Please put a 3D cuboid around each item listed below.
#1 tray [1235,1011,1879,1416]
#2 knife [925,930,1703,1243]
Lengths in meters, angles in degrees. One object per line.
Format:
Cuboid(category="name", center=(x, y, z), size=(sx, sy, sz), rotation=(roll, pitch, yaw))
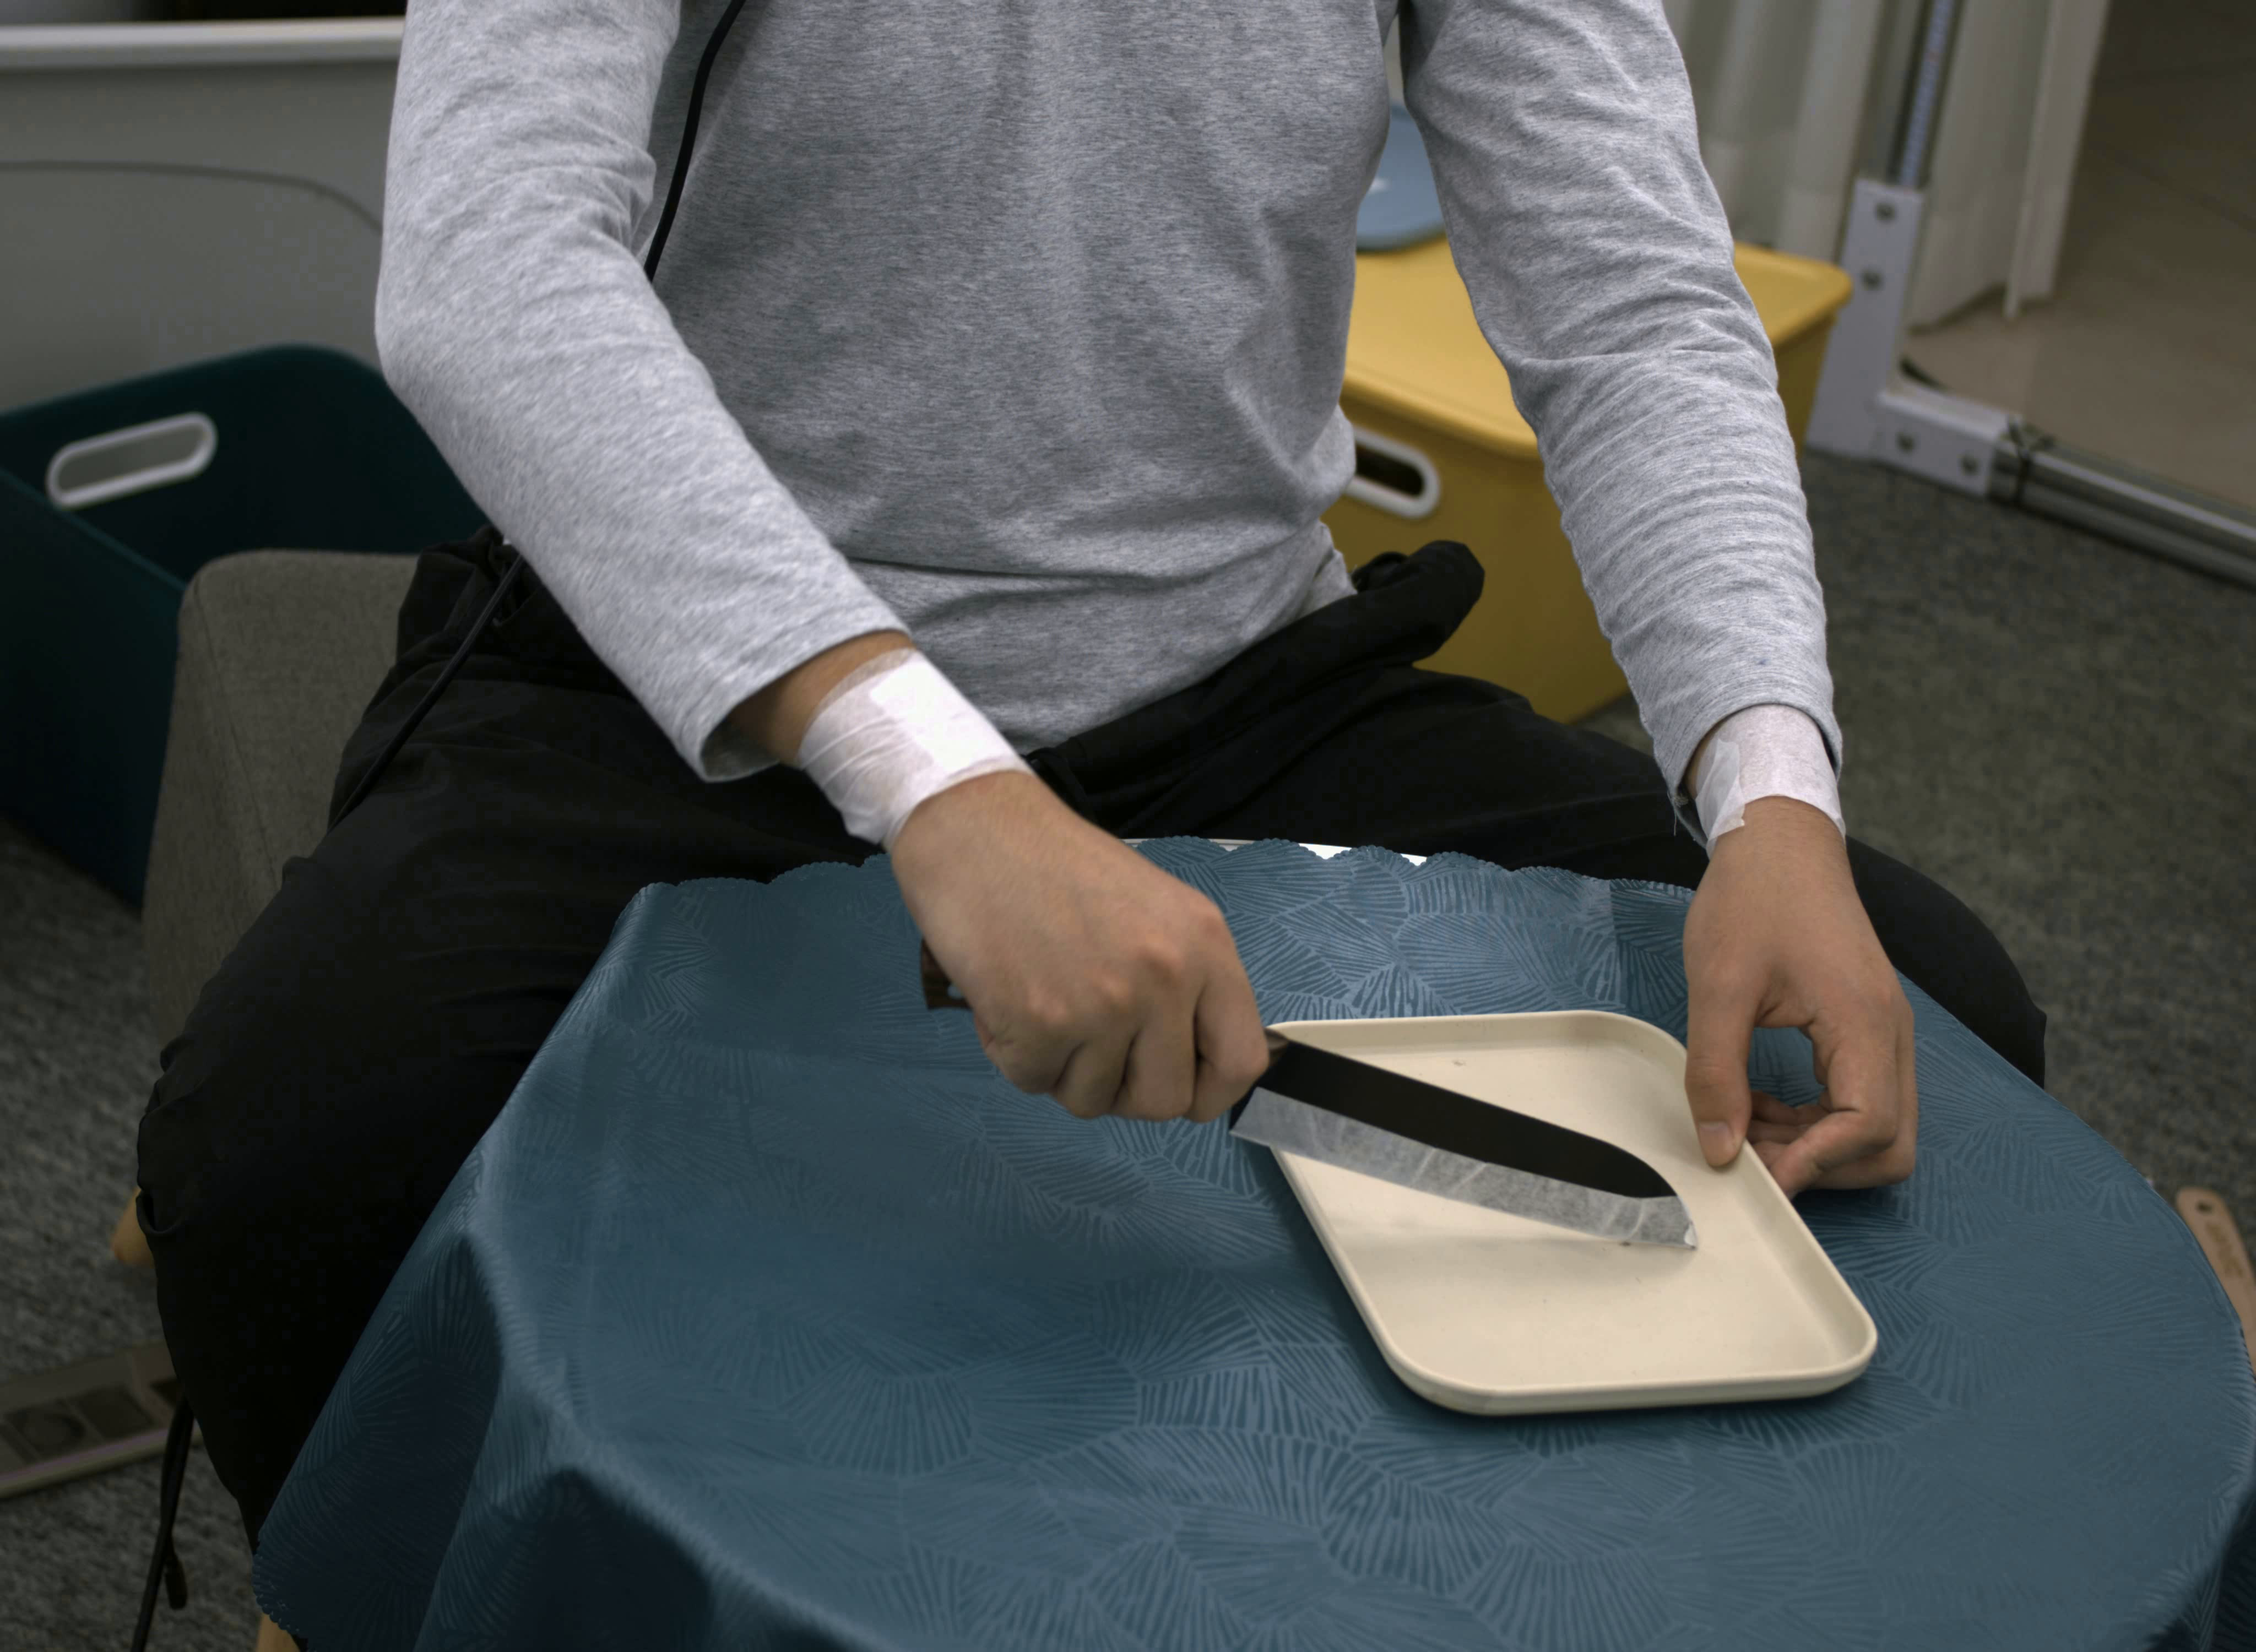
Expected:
Cuboid(category="tray", center=(0.141, 0.130, 1.806), size=(0.170, 0.017, 0.242), rotation=(-1, 28, -15))
Cuboid(category="knife", center=(0.063, 0.090, 1.770), size=(0.287, 0.050, 0.020), rotation=(20, 35, -12))
